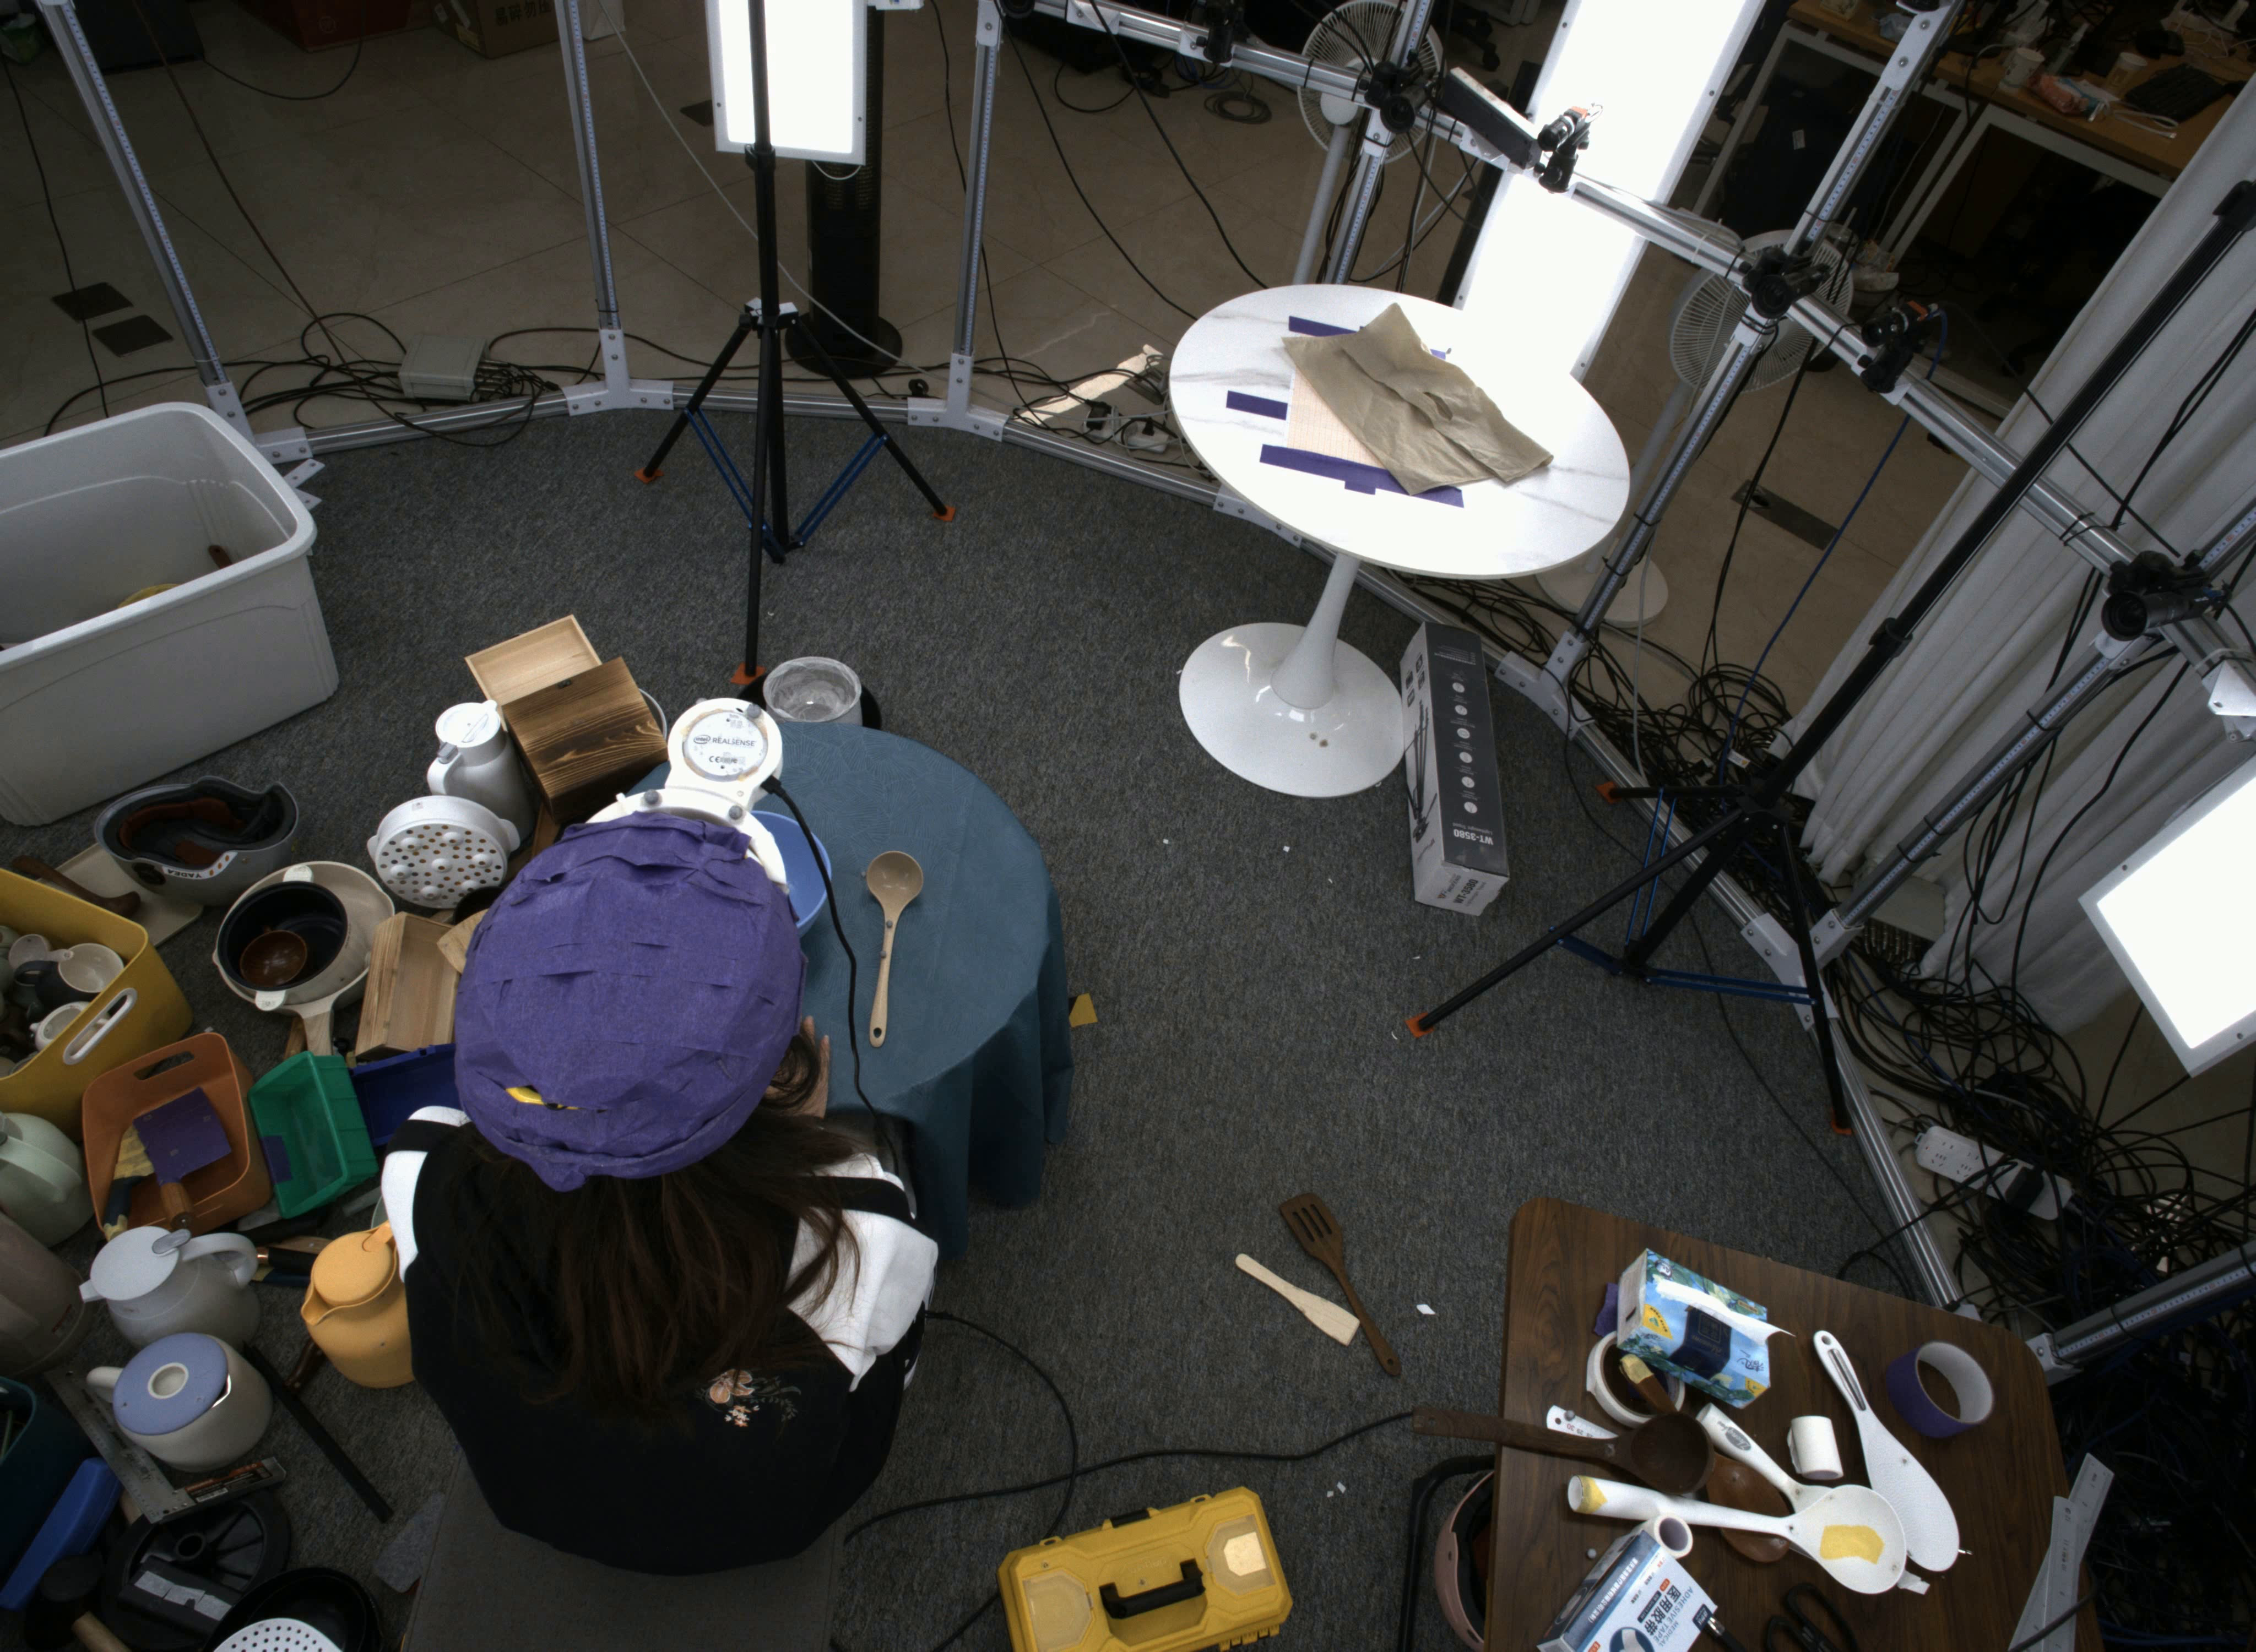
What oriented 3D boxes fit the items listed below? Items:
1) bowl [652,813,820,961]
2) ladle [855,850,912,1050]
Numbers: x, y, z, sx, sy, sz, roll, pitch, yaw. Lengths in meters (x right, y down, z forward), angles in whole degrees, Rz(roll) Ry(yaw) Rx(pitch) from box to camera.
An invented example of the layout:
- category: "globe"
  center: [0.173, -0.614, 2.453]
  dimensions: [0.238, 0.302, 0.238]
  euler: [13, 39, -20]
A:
- category: "bowl"
  center: [-0.475, 0.087, 1.578]
  dimensions: [0.196, 0.097, 0.193]
  euler: [8, 50, -8]
- category: "ladle"
  center: [-0.305, 0.142, 1.597]
  dimensions: [0.072, 0.074, 0.249]
  euler: [2, 53, -9]
